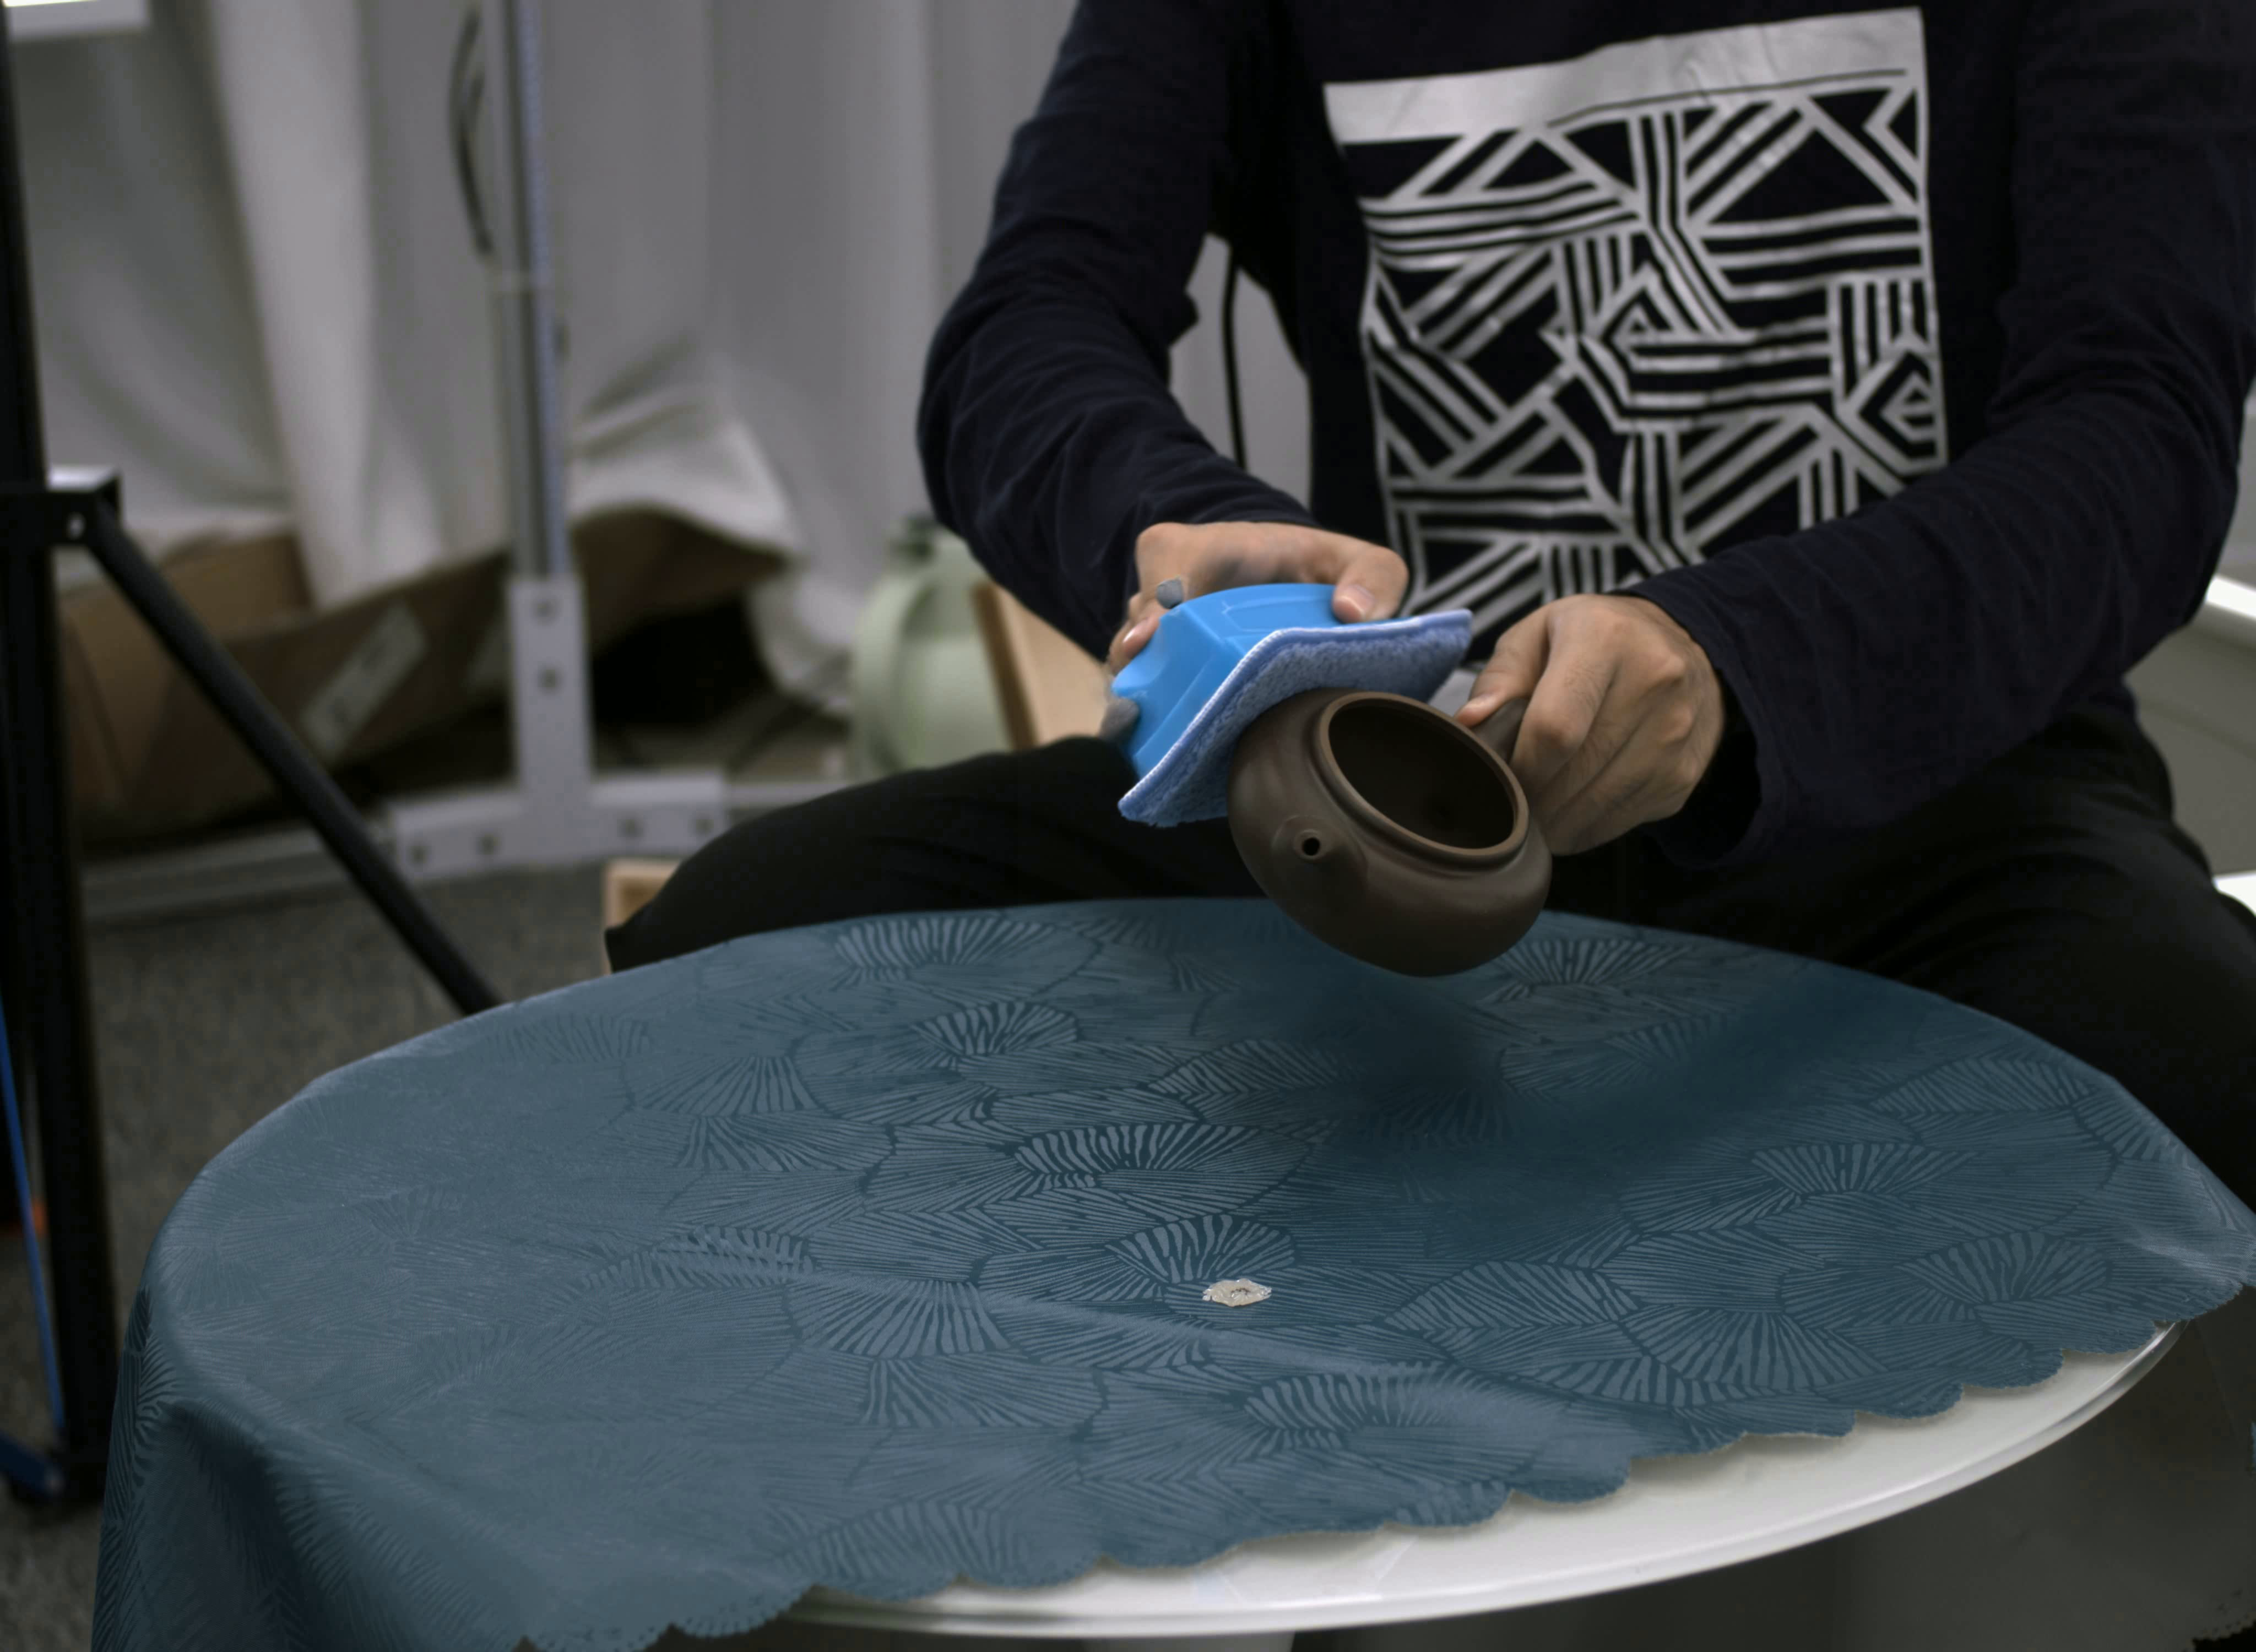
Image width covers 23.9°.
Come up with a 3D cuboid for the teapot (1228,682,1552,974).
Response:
[{"bbox_3d":[0.080,-0.002,1.569,0.103,0.054,0.151,38,36,10],"label":"teapot"}]

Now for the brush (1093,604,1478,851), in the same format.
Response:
[{"bbox_3d":[0.043,-0.032,1.624,0.084,0.056,0.141,-44,-18,29],"label":"brush"}]
